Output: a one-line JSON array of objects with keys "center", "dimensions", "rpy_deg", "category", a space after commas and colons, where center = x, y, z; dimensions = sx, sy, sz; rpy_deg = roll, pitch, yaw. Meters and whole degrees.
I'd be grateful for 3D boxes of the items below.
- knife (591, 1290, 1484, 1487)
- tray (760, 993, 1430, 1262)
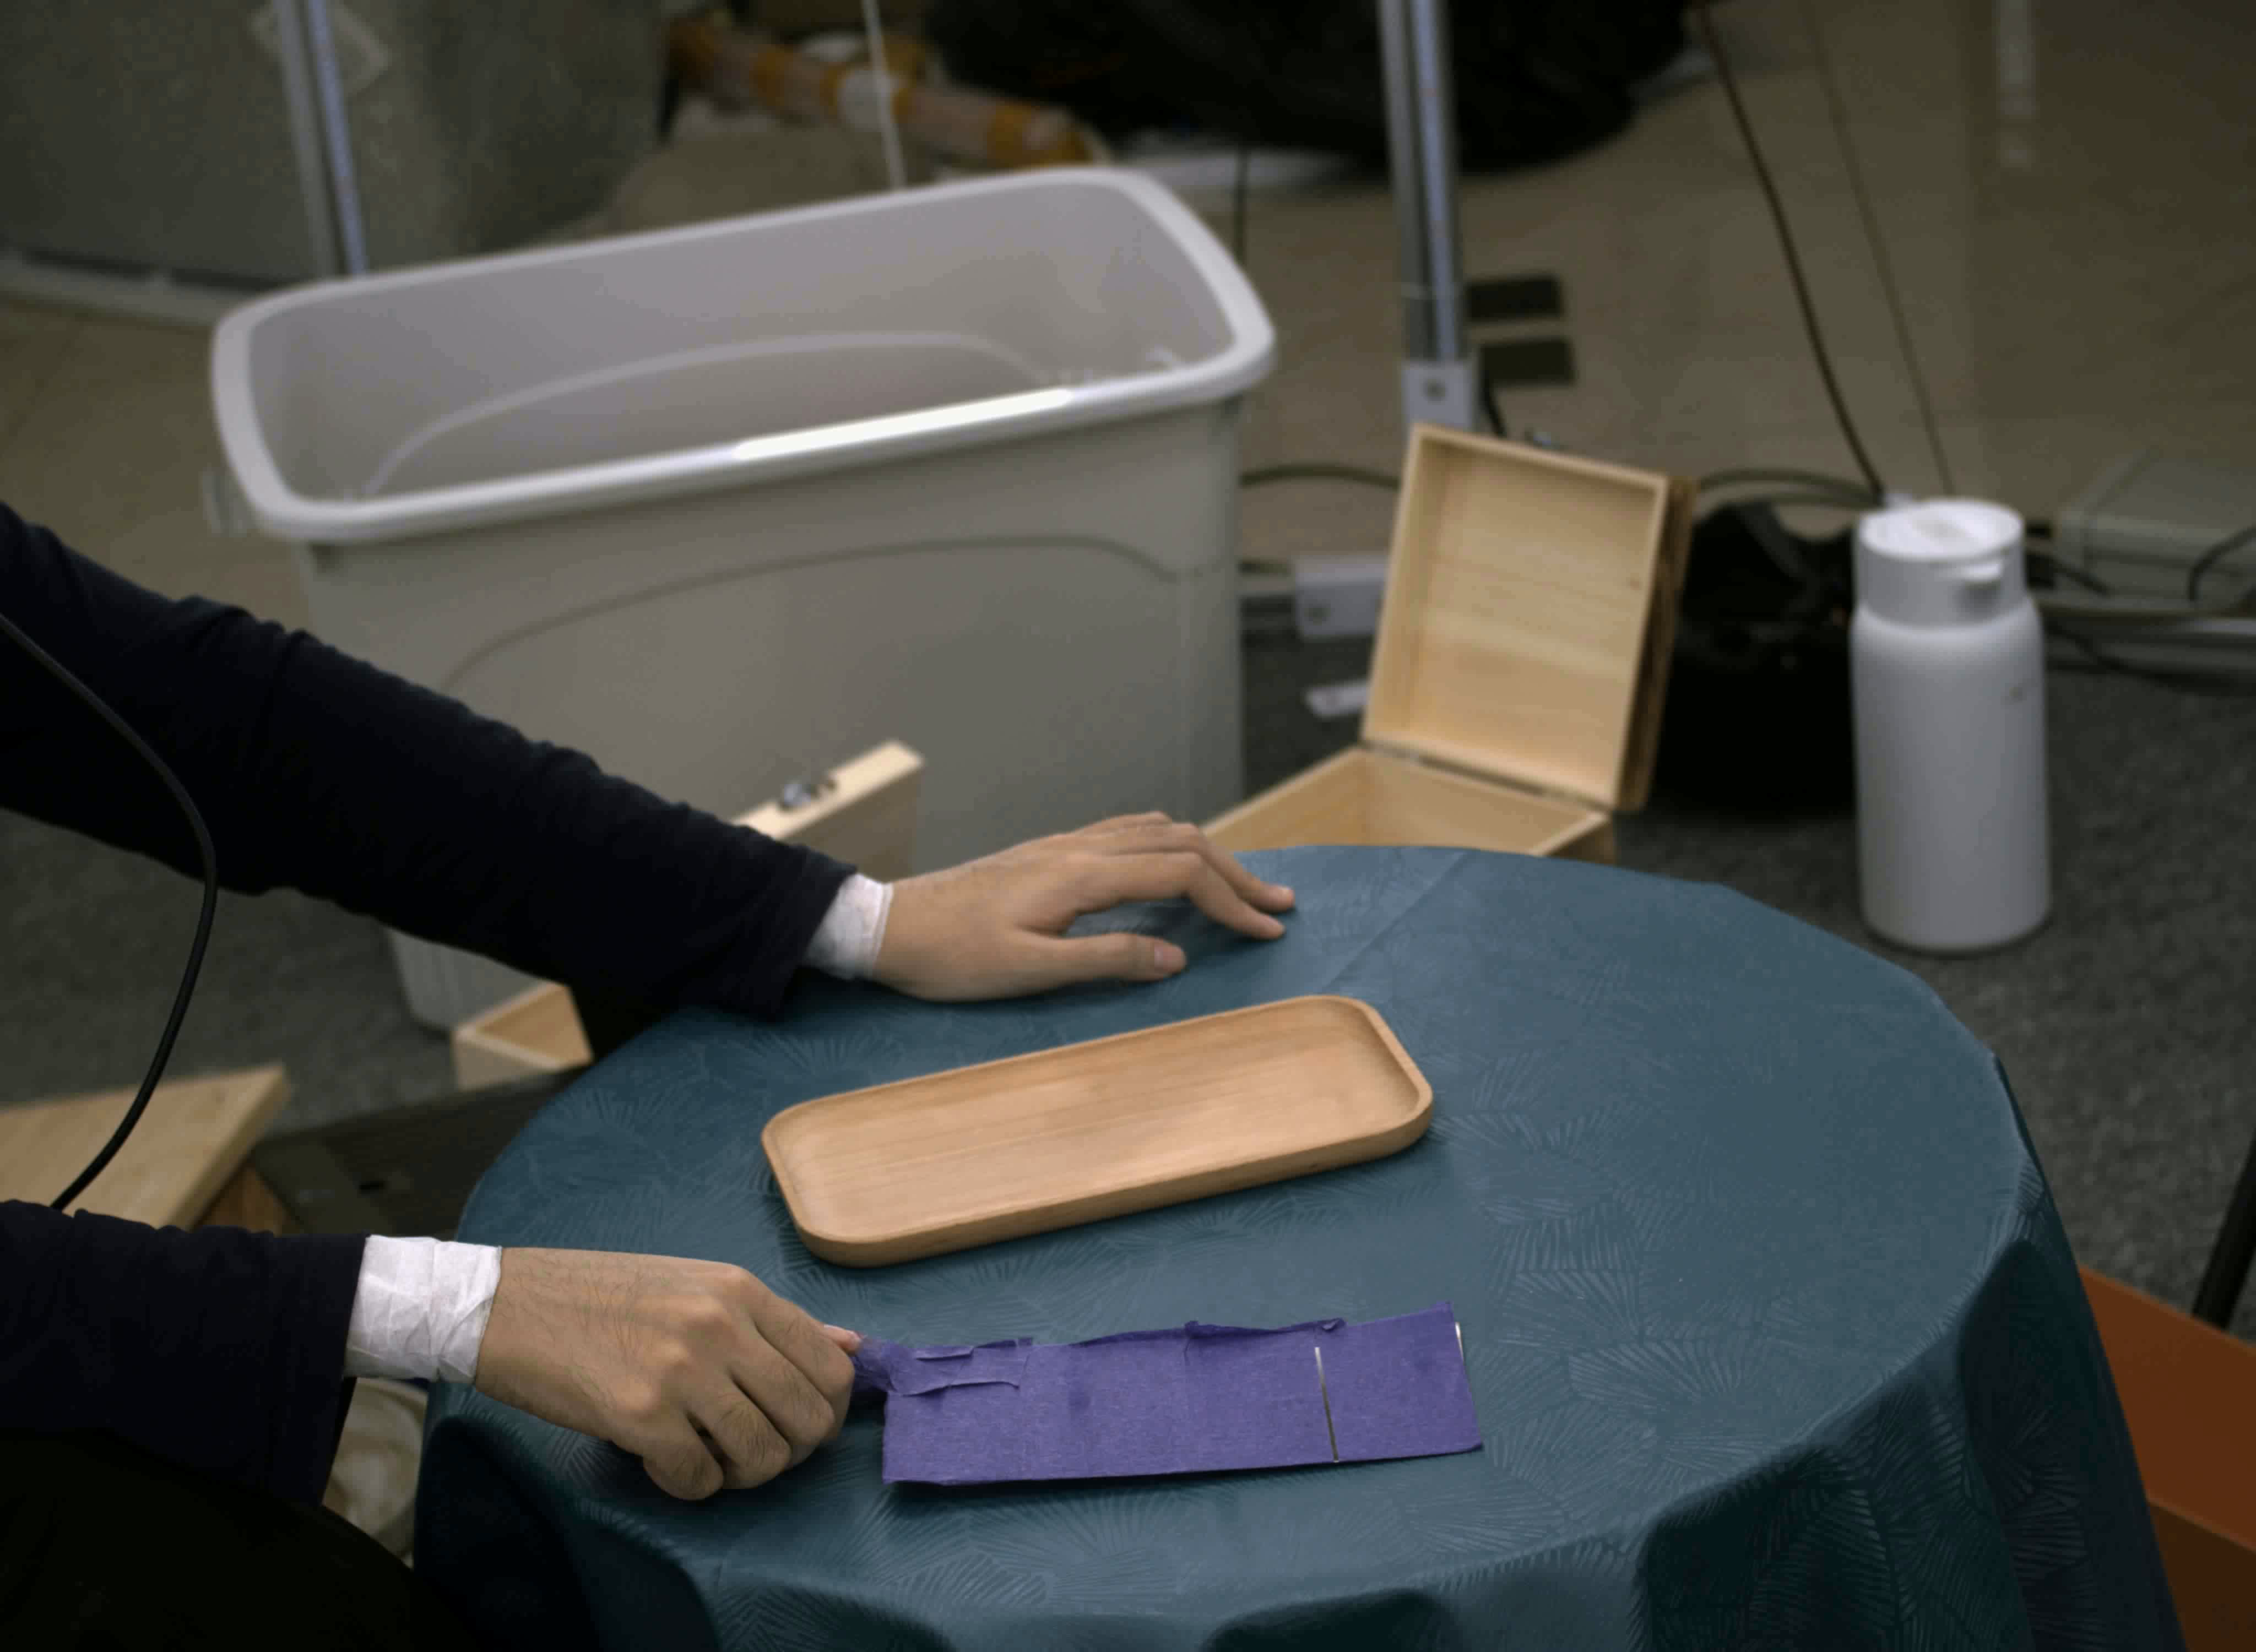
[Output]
[{"center": [-0.034, 0.200, 1.996], "dimensions": [0.315, 0.033, 0.102], "rpy_deg": [-6, 24, 1], "category": "knife"}, {"center": [-0.013, 0.116, 2.186], "dimensions": [0.250, 0.023, 0.129], "rpy_deg": [-11, 23, -7], "category": "tray"}]
